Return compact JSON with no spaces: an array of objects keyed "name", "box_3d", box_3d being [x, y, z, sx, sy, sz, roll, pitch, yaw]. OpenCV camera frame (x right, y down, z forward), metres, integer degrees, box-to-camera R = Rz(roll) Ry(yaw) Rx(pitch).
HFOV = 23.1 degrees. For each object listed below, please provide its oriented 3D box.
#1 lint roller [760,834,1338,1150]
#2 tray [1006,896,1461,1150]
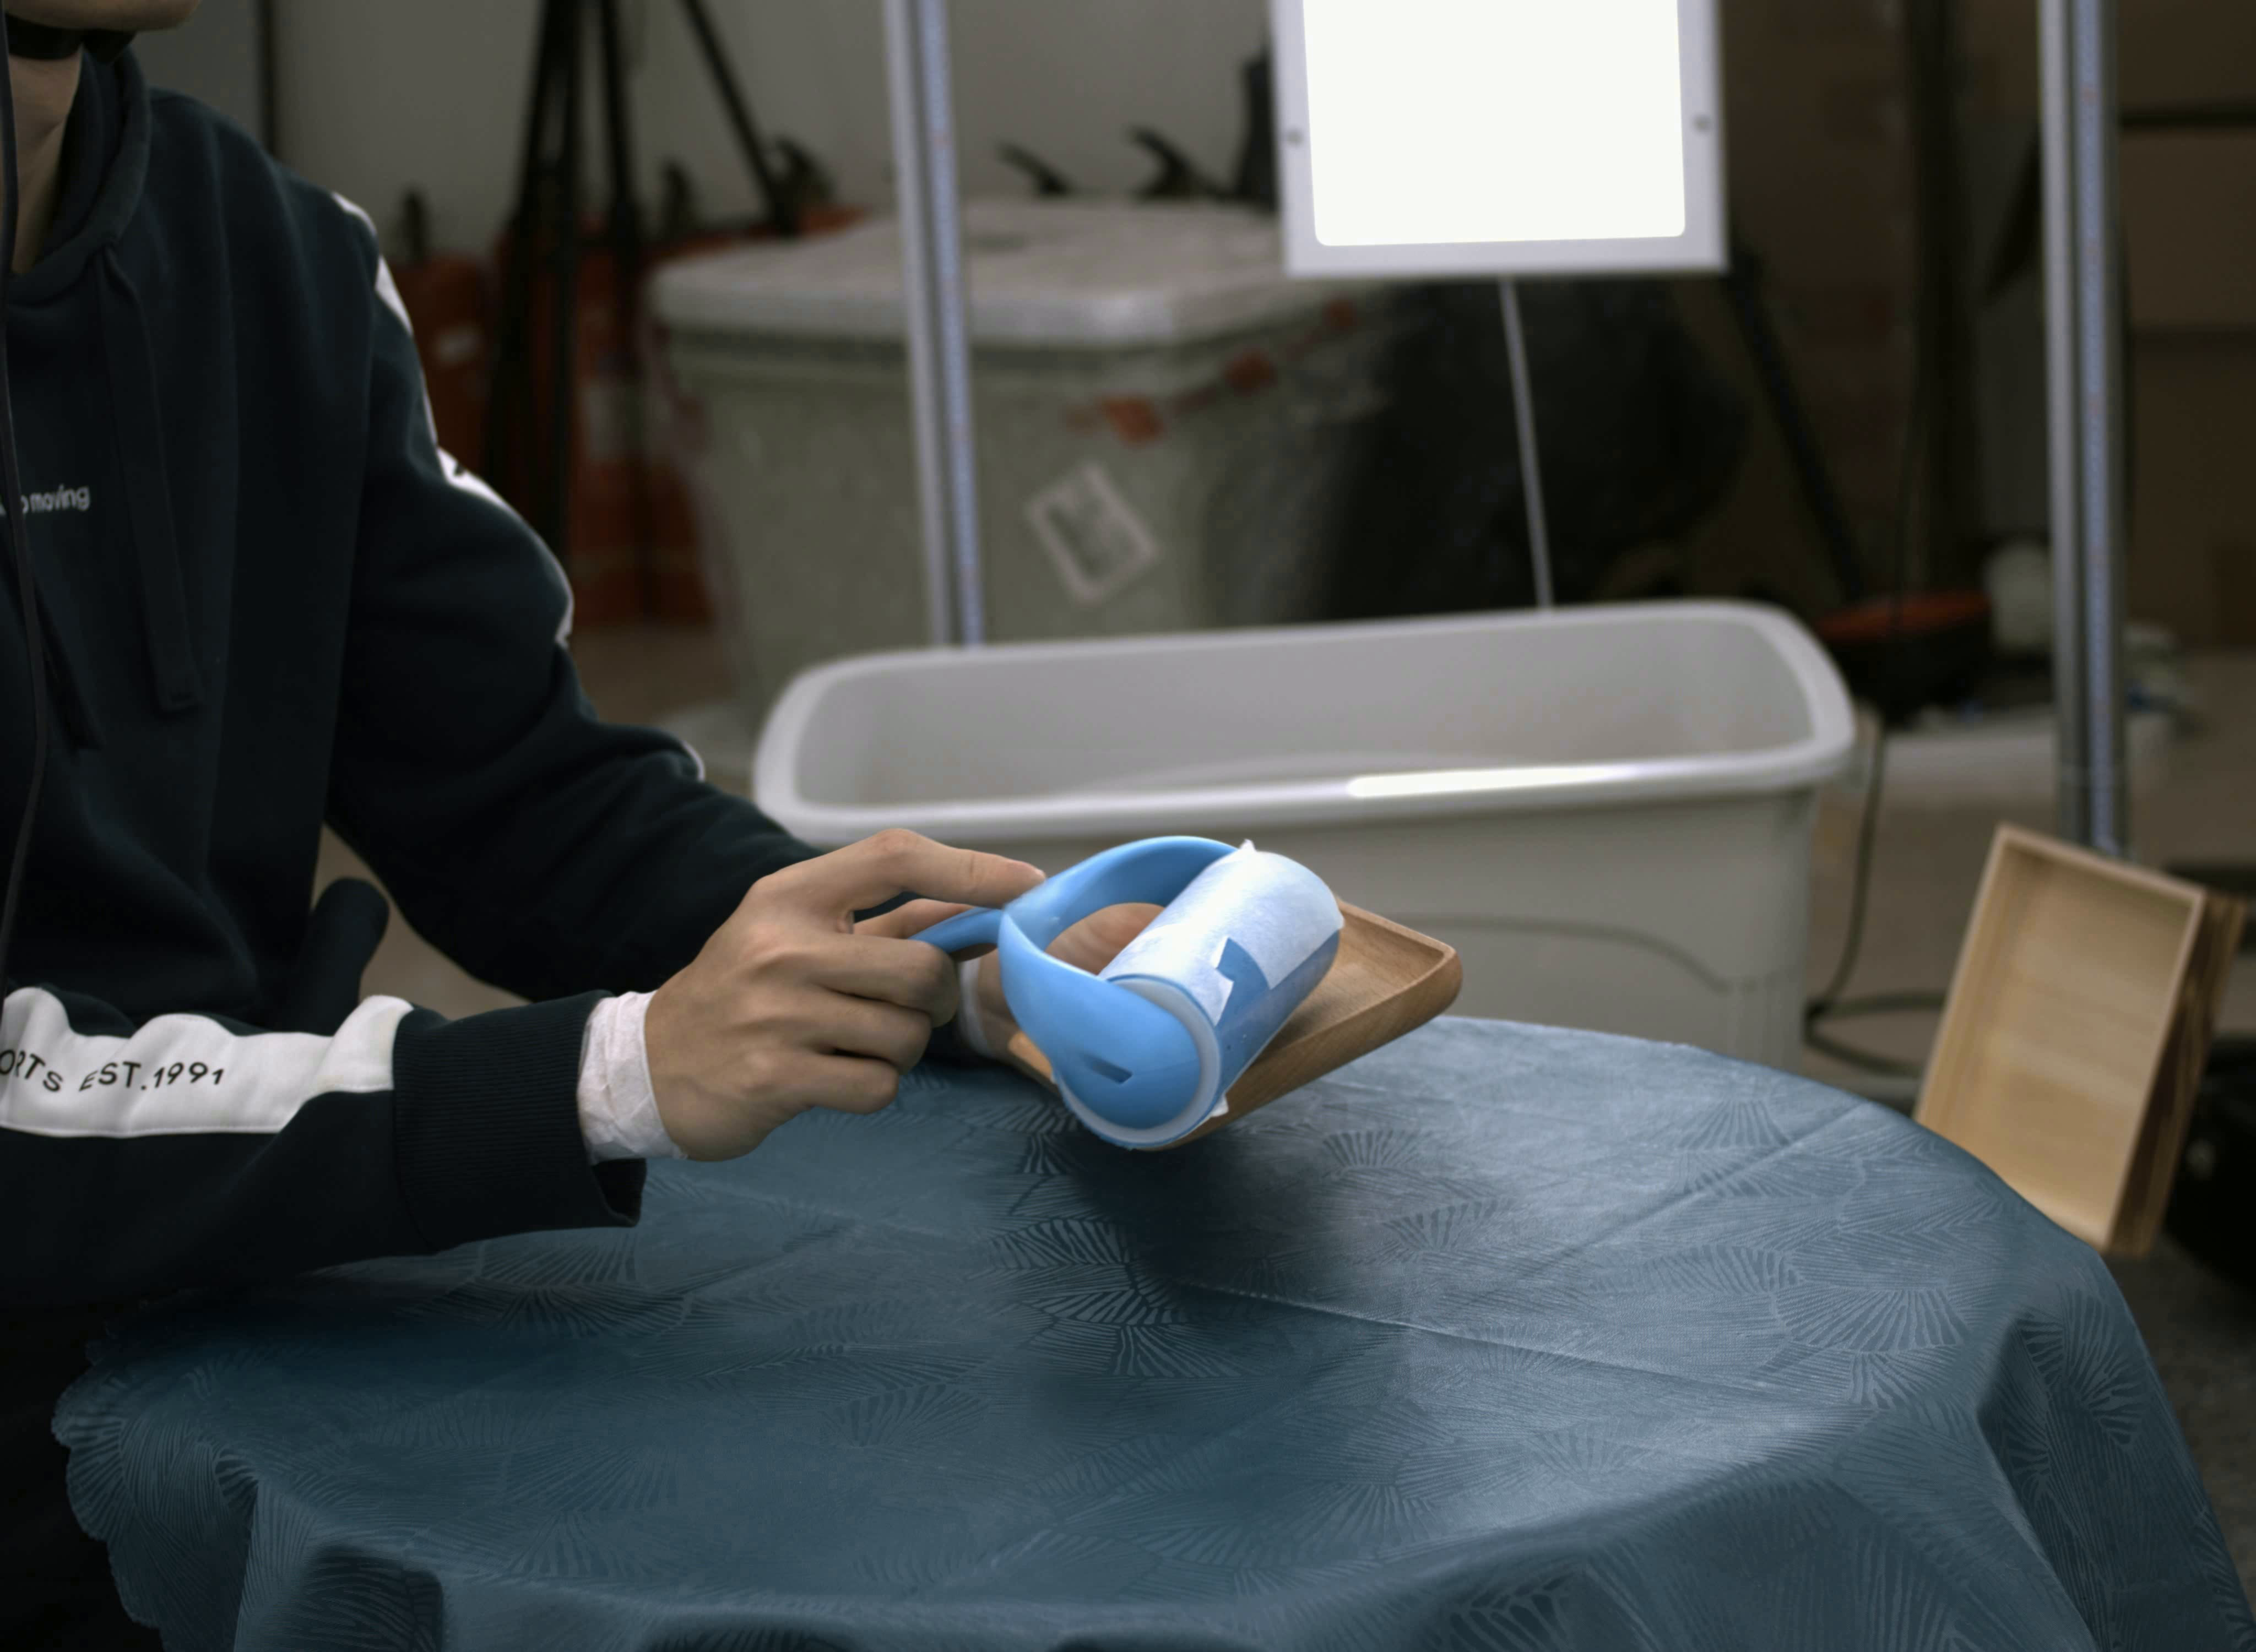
[{"name":"lint roller","box_3d":[-0.034,0.055,1.743,0.181,0.068,0.226,-5,12,12]},{"name":"tray","box_3d":[0.034,0.065,1.866,0.130,0.023,0.252,-29,9,-6]}]
